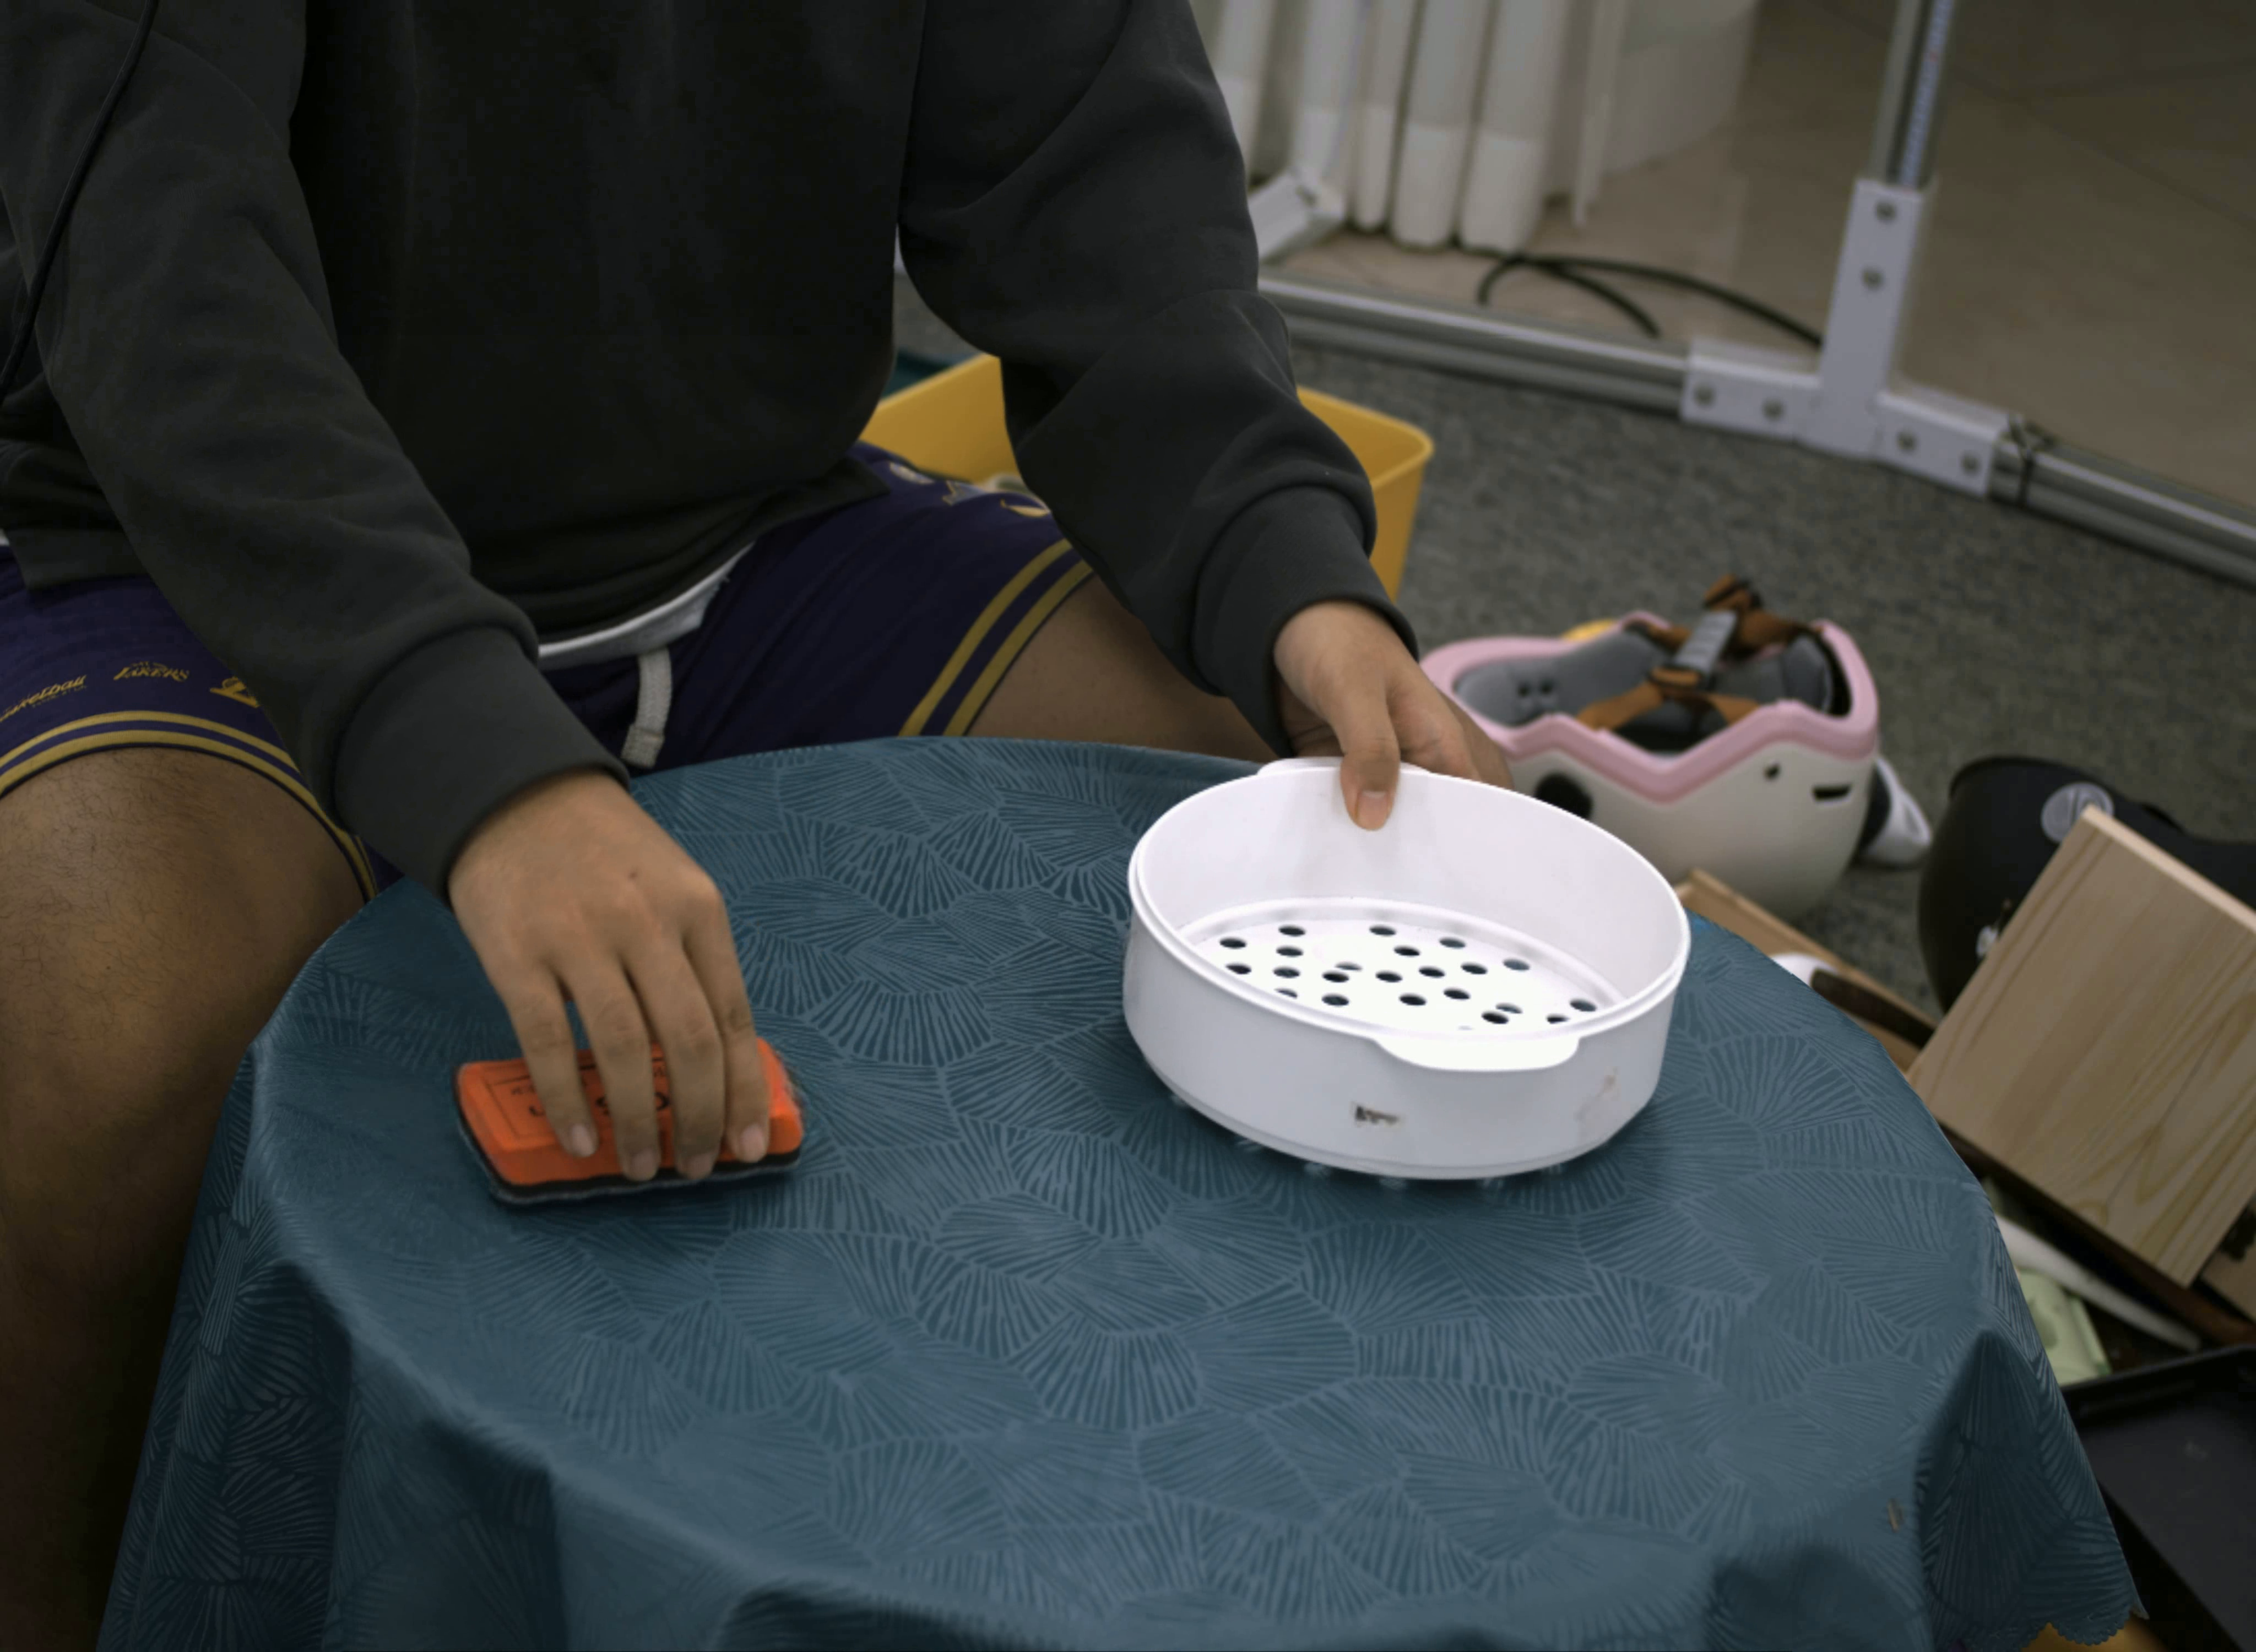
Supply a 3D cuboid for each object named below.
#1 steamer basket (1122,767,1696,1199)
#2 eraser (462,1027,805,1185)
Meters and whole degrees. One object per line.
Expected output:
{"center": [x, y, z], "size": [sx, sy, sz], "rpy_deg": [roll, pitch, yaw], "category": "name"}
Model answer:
{"center": [0.097, 0.057, 1.884], "size": [0.201, 0.069, 0.232], "rpy_deg": [-1, 28, -13], "category": "steamer basket"}
{"center": [-0.165, 0.093, 1.776], "size": [0.107, 0.023, 0.059], "rpy_deg": [-7, 21, -22], "category": "eraser"}
